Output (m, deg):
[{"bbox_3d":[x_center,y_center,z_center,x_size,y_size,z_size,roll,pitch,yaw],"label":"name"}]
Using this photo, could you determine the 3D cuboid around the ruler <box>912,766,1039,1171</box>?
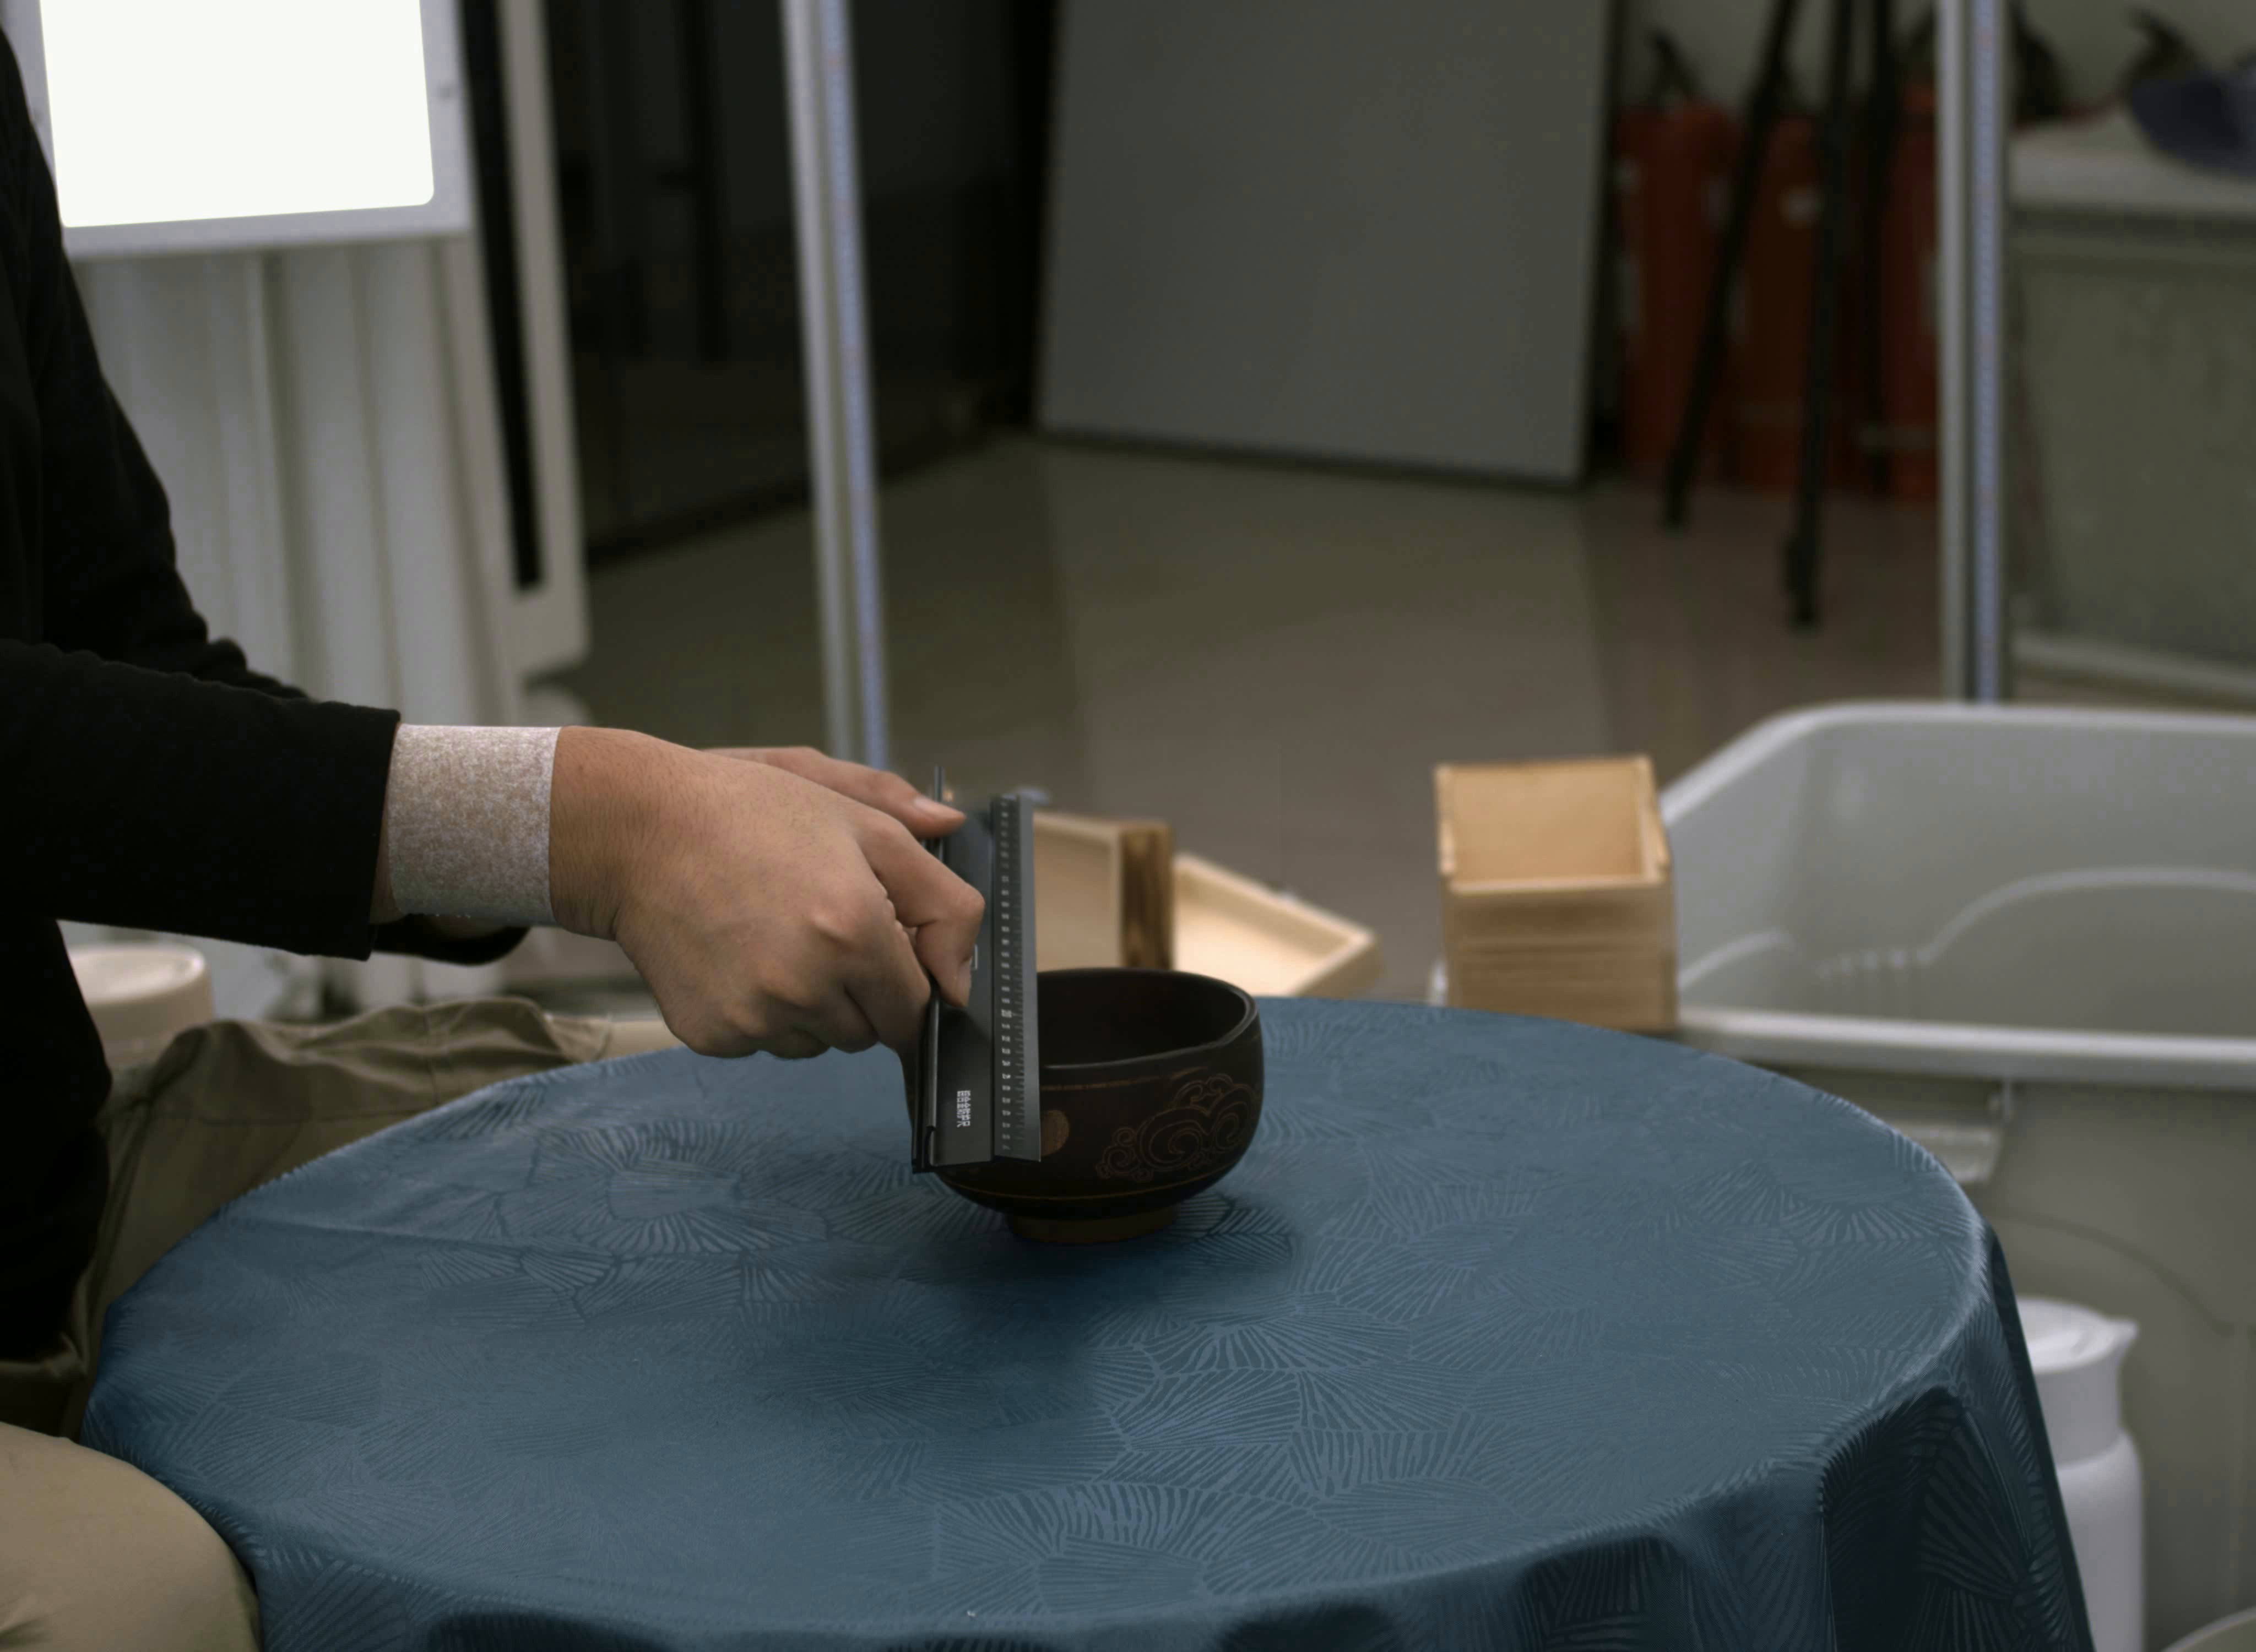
[{"bbox_3d":[-0.048,0.038,1.716,0.039,0.017,0.313,-5,20,1],"label":"ruler"}]

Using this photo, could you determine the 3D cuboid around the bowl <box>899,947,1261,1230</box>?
[{"bbox_3d":[-0.016,0.088,1.738,0.116,0.070,0.118,2,14,-1],"label":"bowl"}]
